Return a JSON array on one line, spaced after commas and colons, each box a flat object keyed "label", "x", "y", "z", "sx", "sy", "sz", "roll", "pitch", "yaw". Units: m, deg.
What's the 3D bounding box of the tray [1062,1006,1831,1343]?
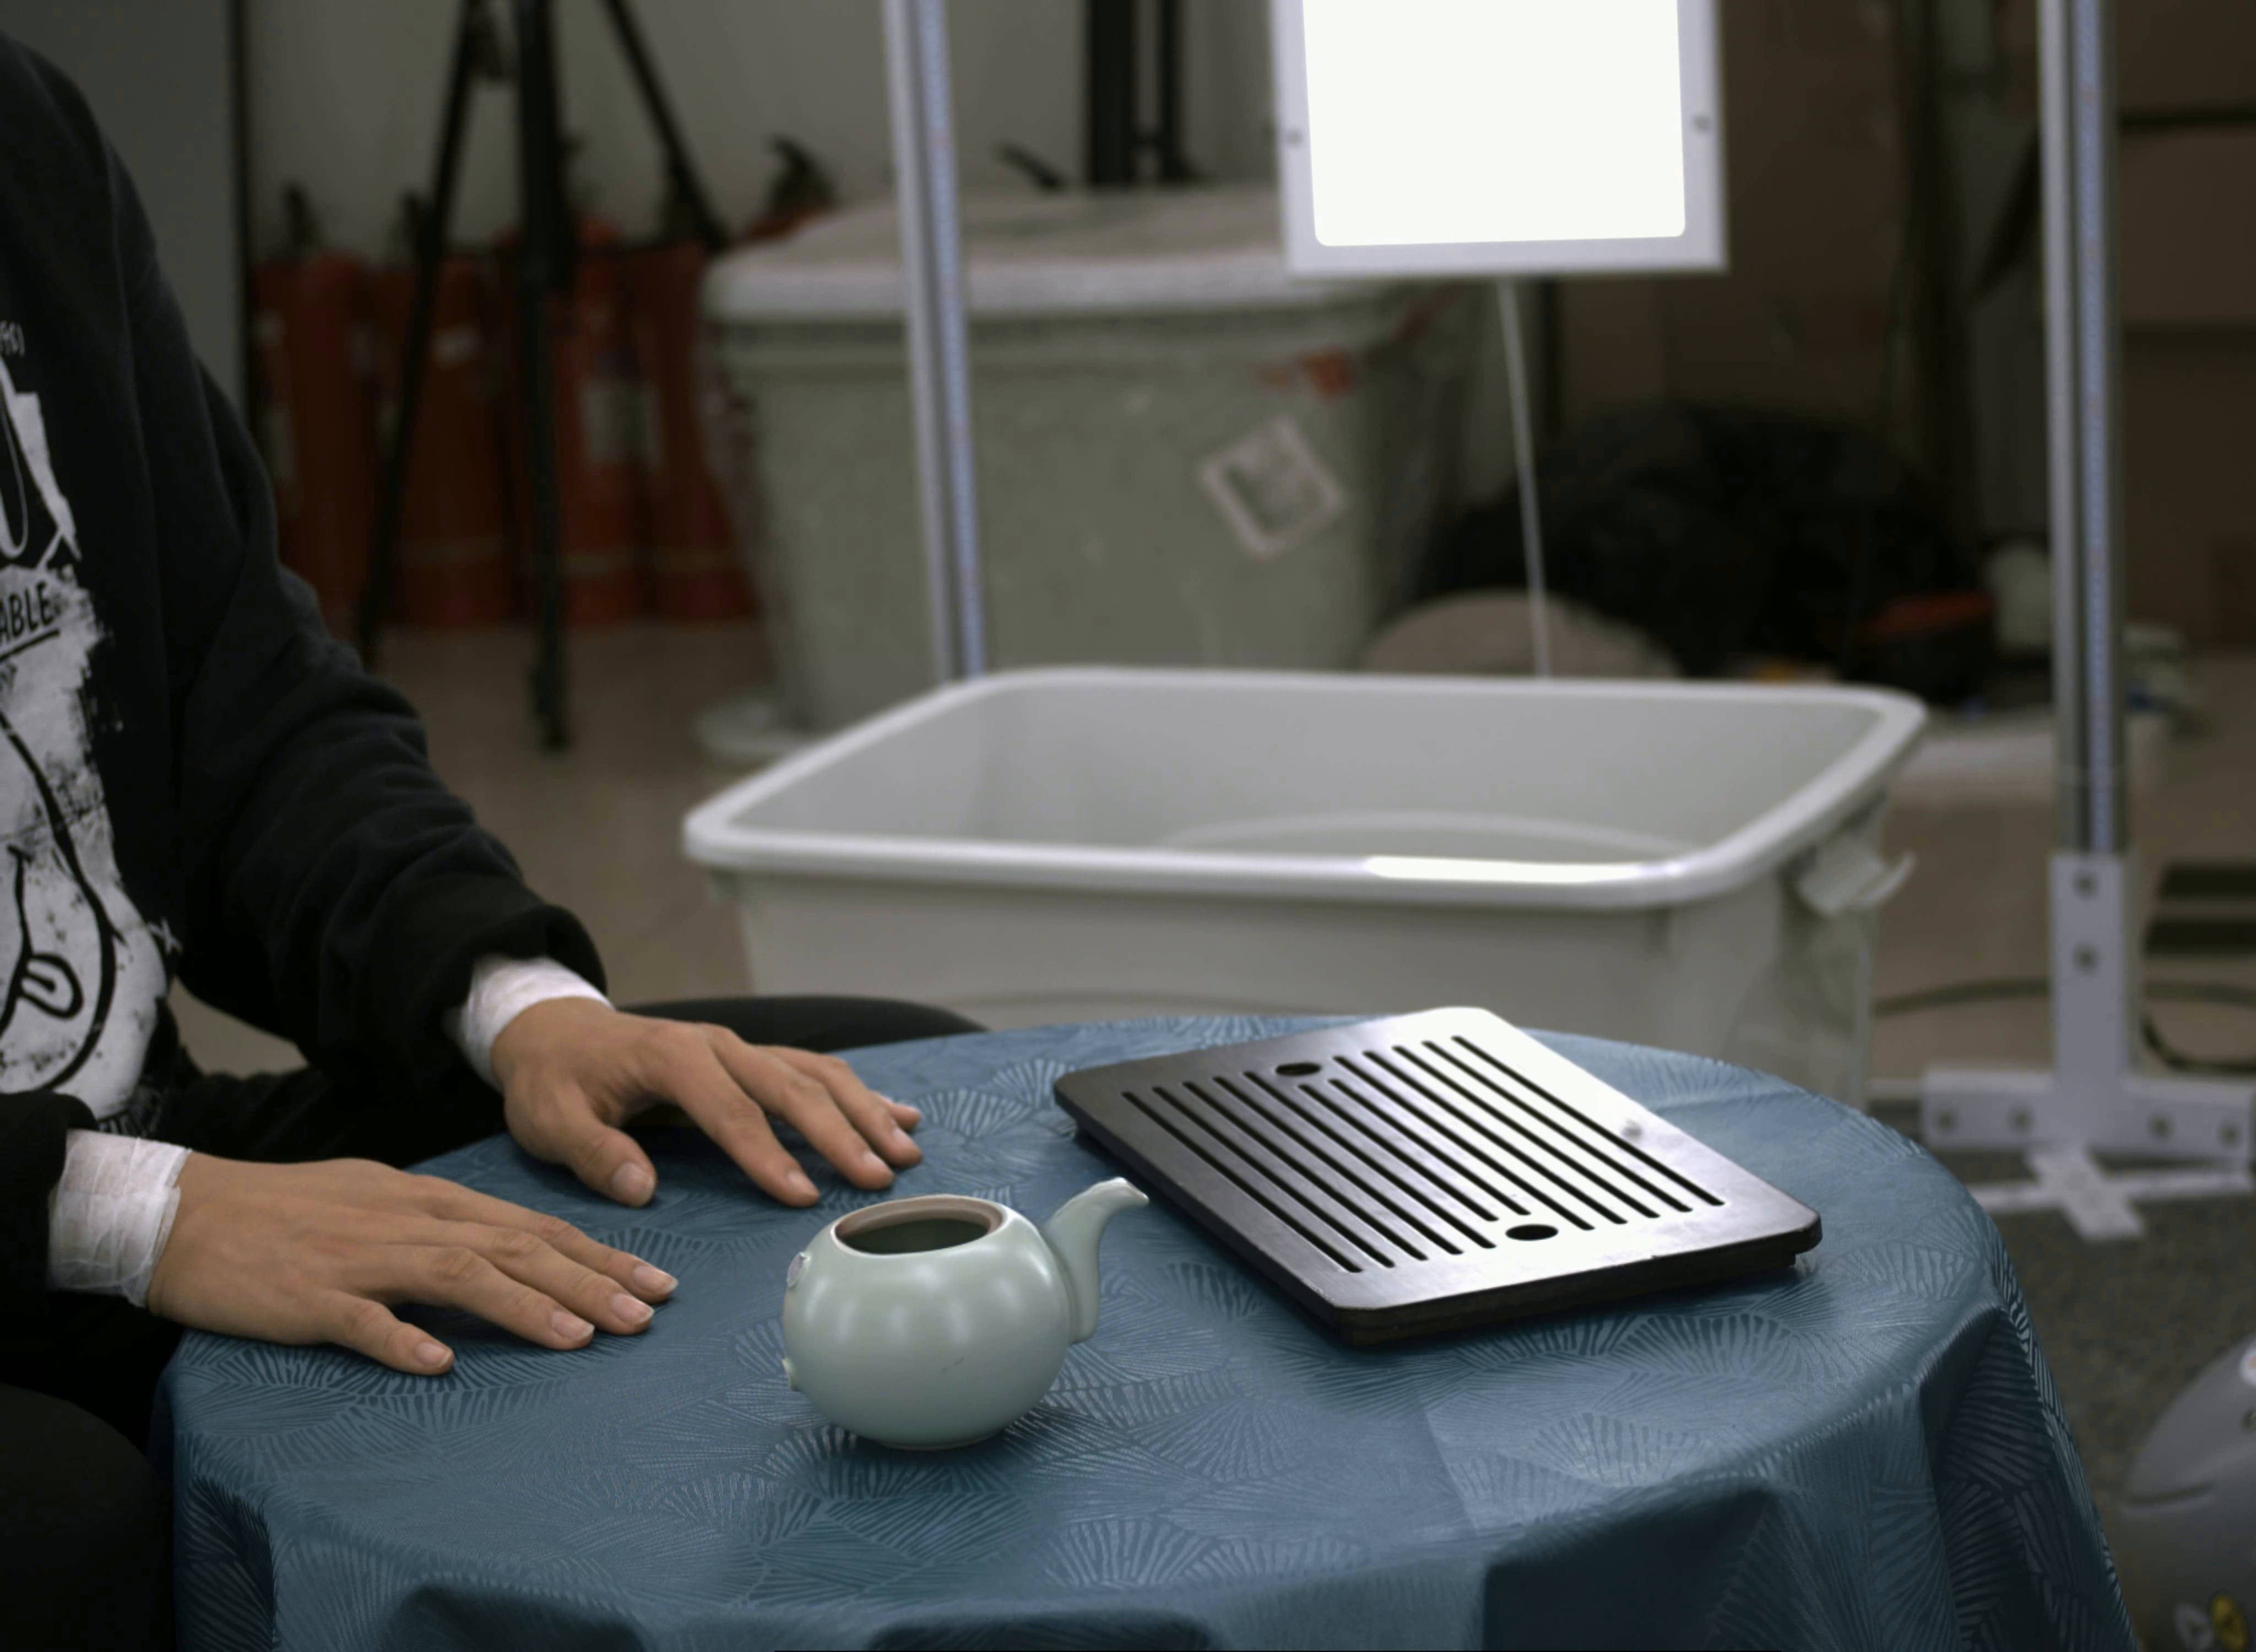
[{"label": "tray", "x": 0.102, "y": 0.115, "z": 1.870, "sx": 0.167, "sy": 0.019, "sz": 0.309, "roll": -9, "pitch": 14, "yaw": -16}]

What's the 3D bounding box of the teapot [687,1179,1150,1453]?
[{"label": "teapot", "x": -0.062, "y": 0.149, "z": 1.677, "sx": 0.142, "sy": 0.075, "sz": 0.089, "roll": -5, "pitch": 14, "yaw": -7}]
